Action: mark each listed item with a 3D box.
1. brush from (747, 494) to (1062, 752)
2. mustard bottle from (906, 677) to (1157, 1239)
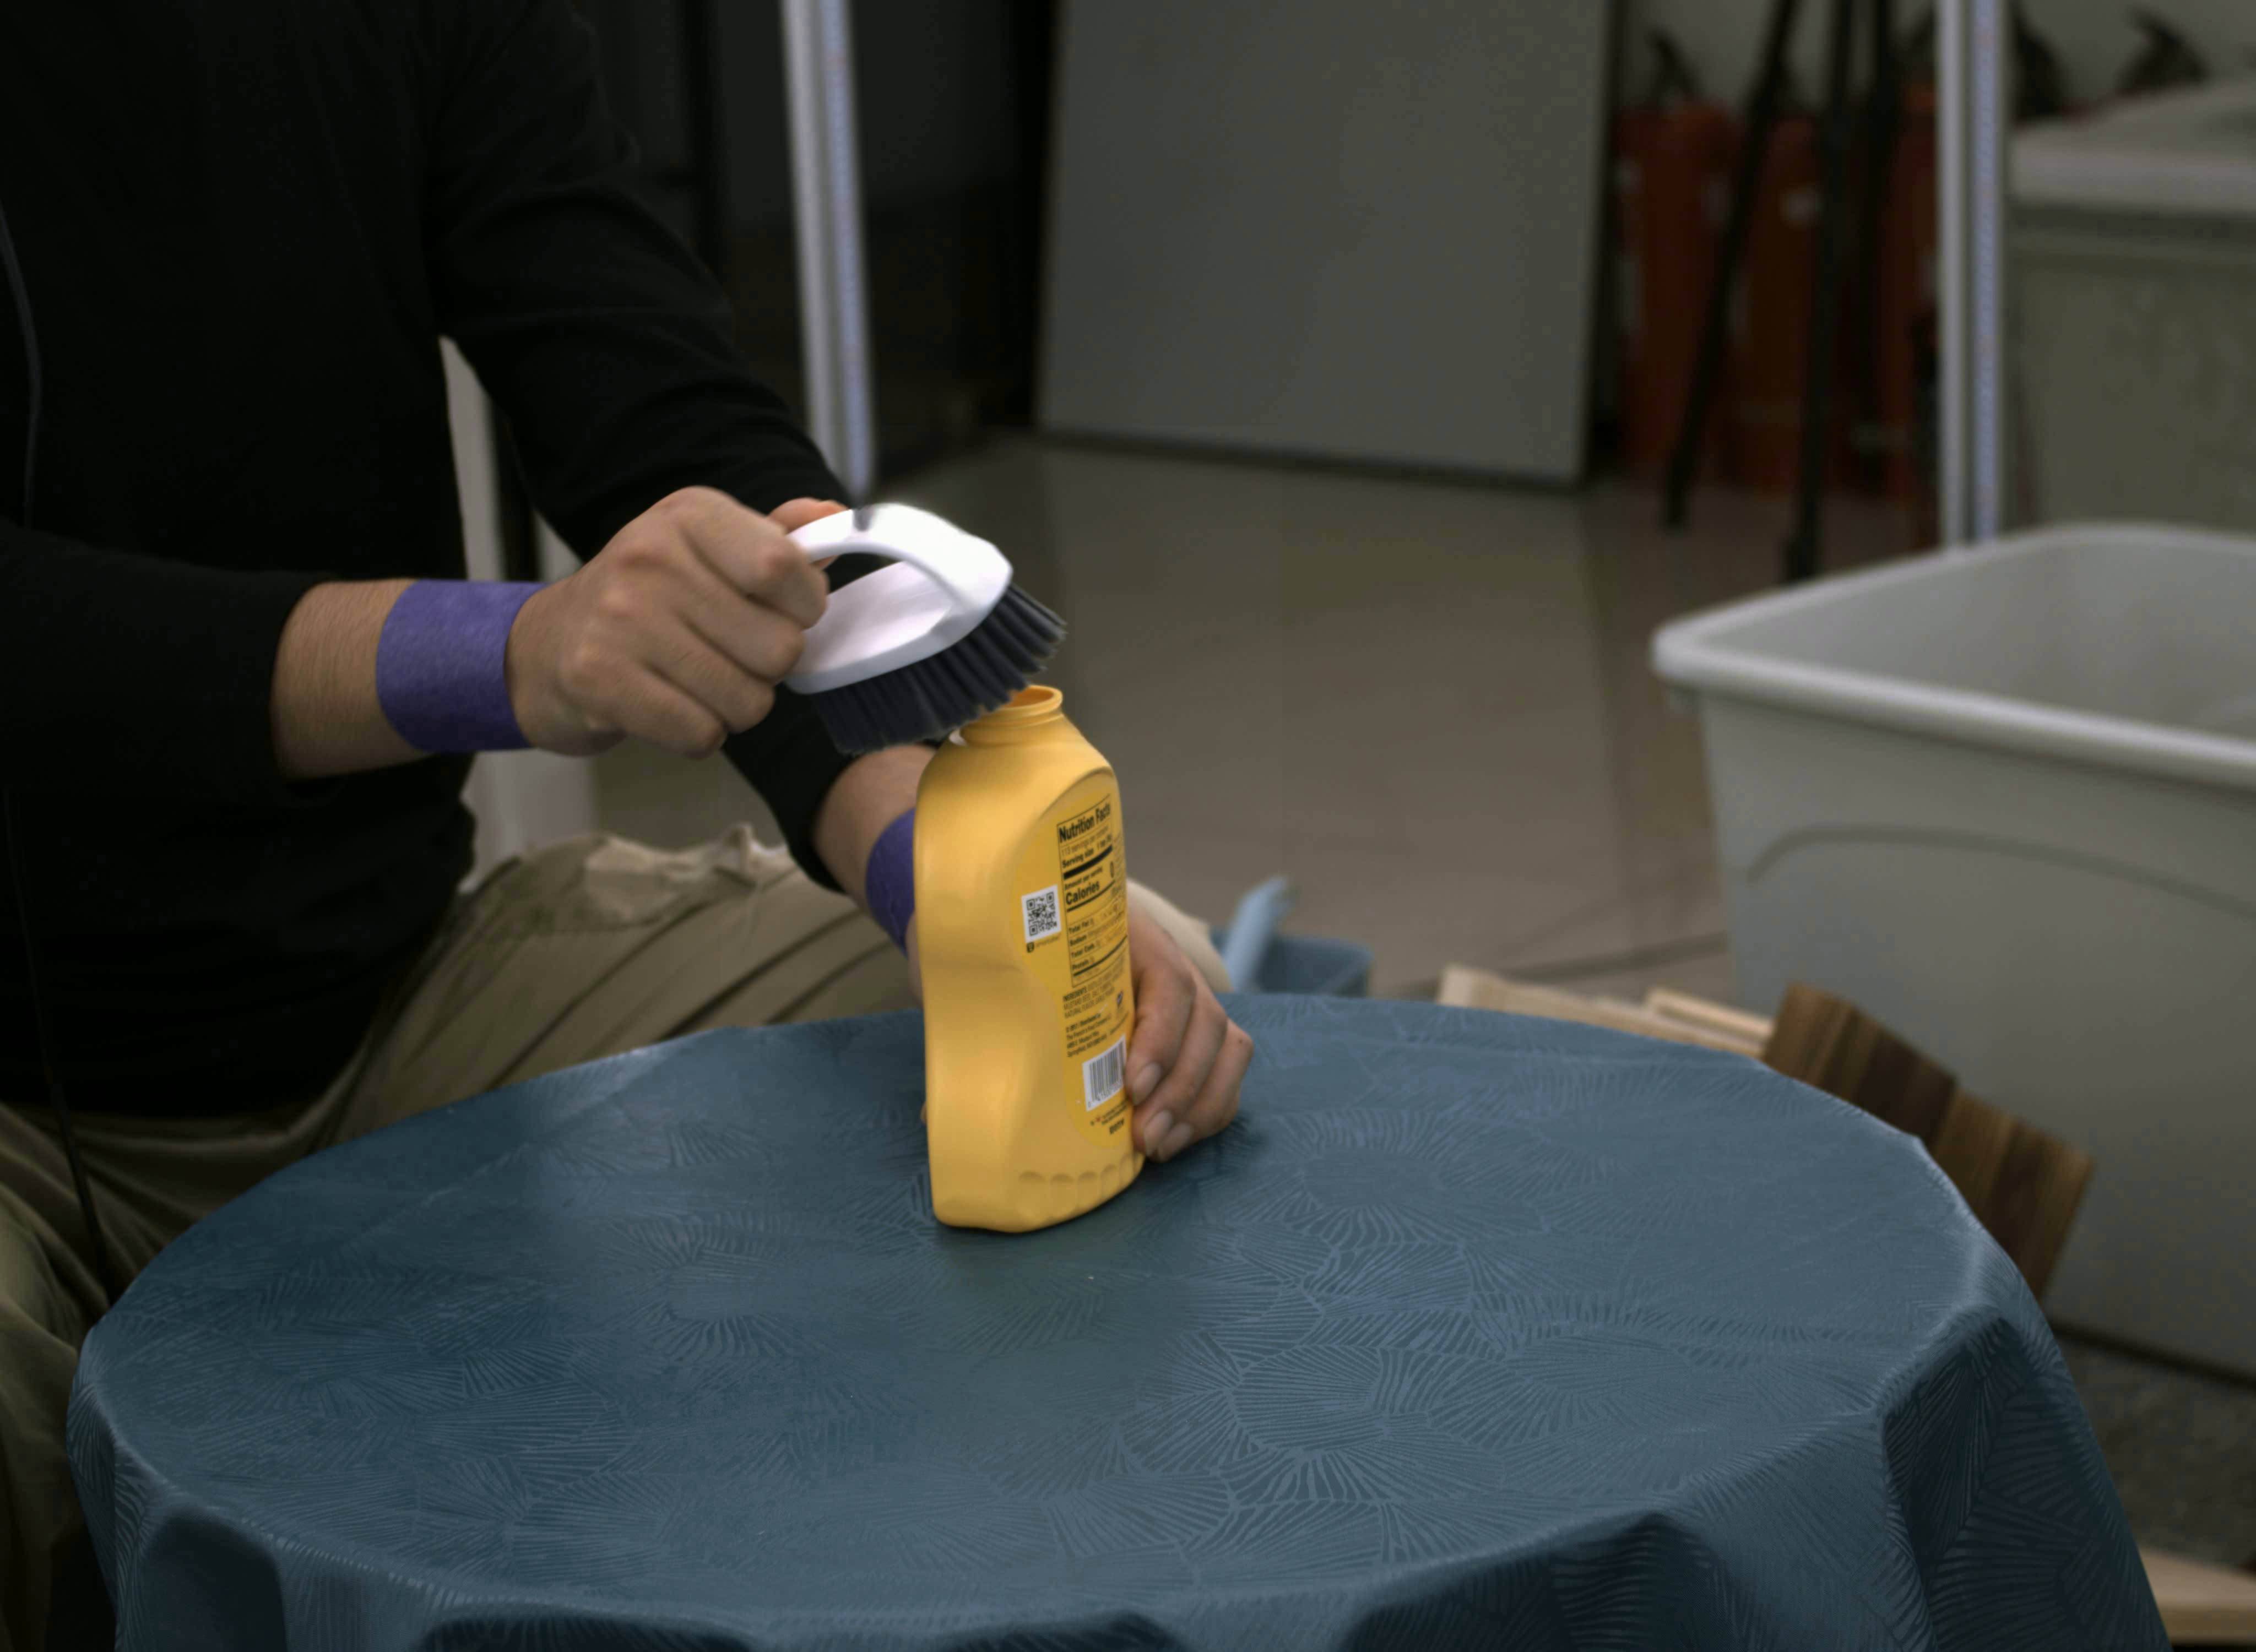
[{"bbox_3d":[-0.078,-0.070,1.703,0.100,0.072,0.050,-14,33,42],"label":"brush"},{"bbox_3d":[-0.033,0.040,1.751,0.059,0.174,0.097,2,16,29],"label":"mustard bottle"}]
